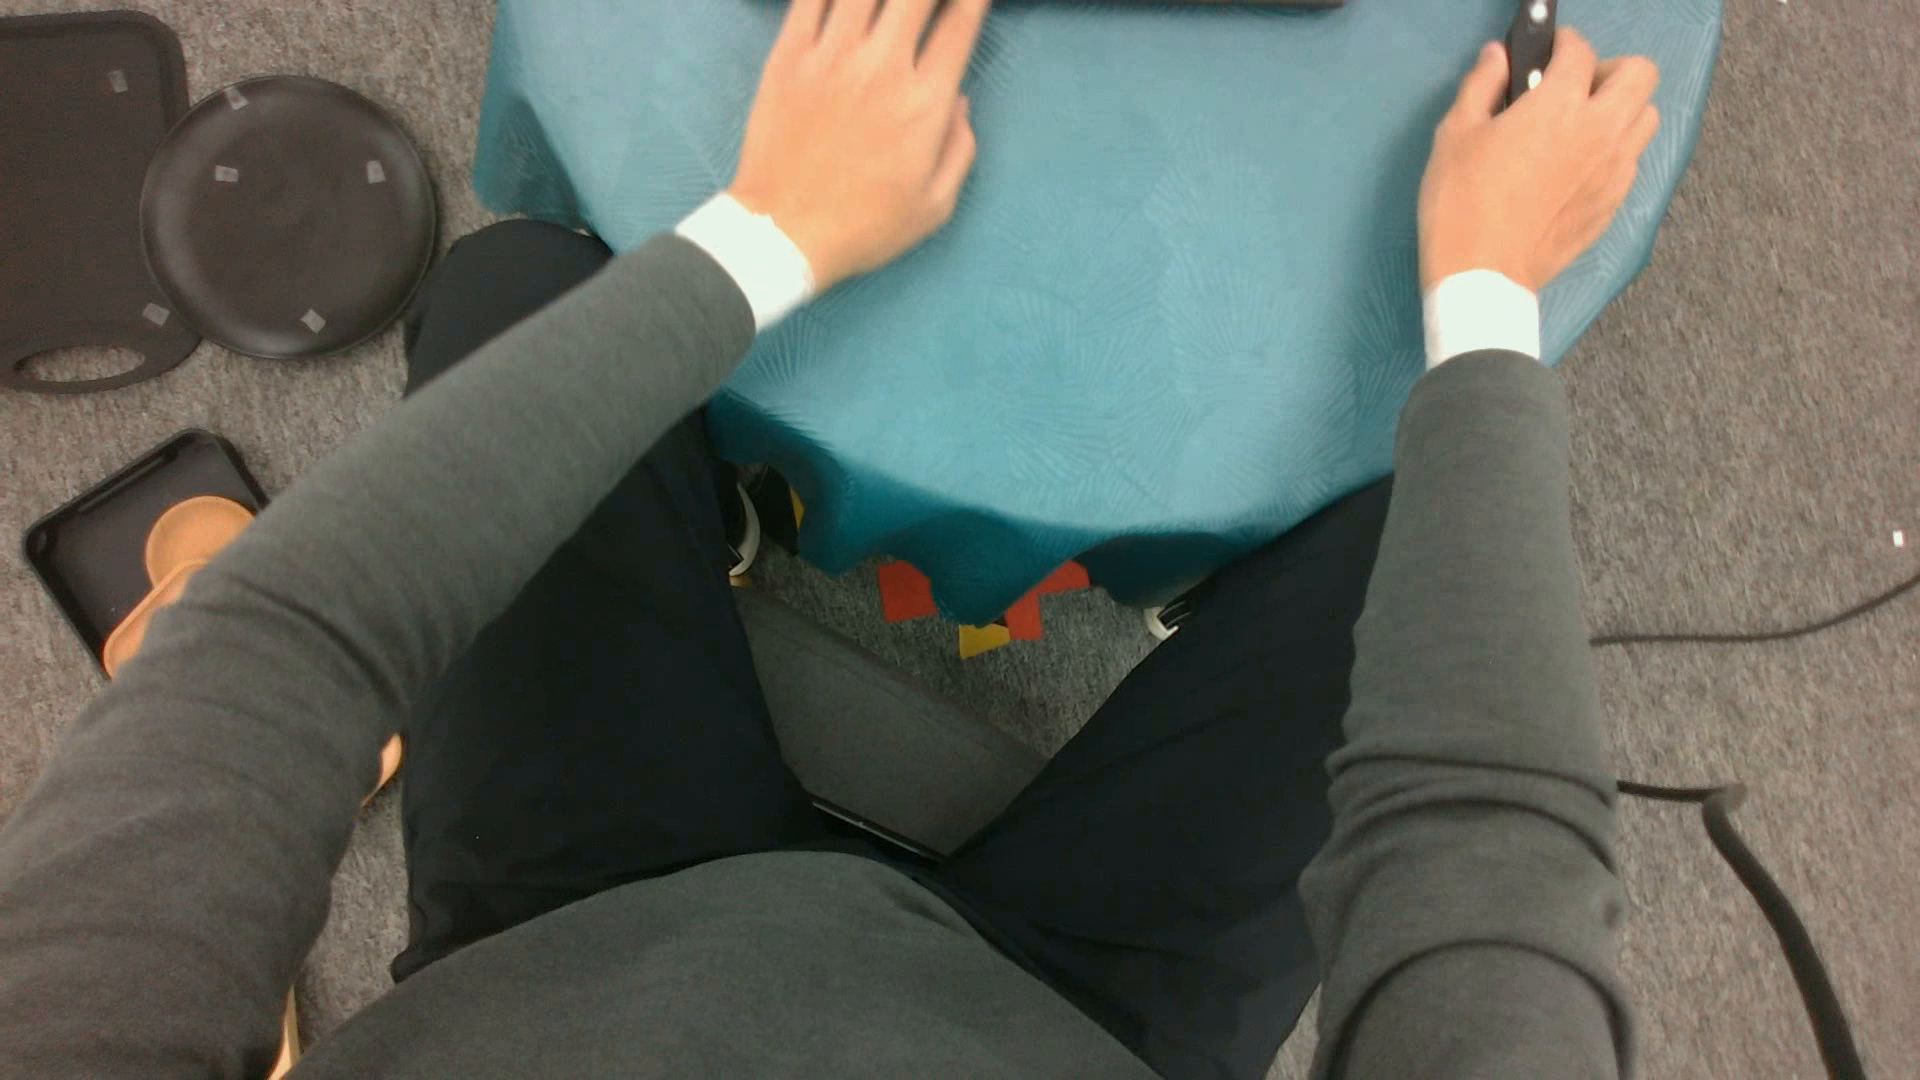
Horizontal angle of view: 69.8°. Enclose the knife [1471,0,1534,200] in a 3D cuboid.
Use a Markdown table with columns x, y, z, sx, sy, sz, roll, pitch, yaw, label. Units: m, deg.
| x | y | z | sx | sy | sz | roll | pitch | yaw | label |
| --- | --- | --- | --- | --- | --- | --- | --- | --- | --- |
| 0.274 | -0.284 | 0.676 | 0.024 | 0.016 | 0.238 | 7 | 88 | 6 | knife |
